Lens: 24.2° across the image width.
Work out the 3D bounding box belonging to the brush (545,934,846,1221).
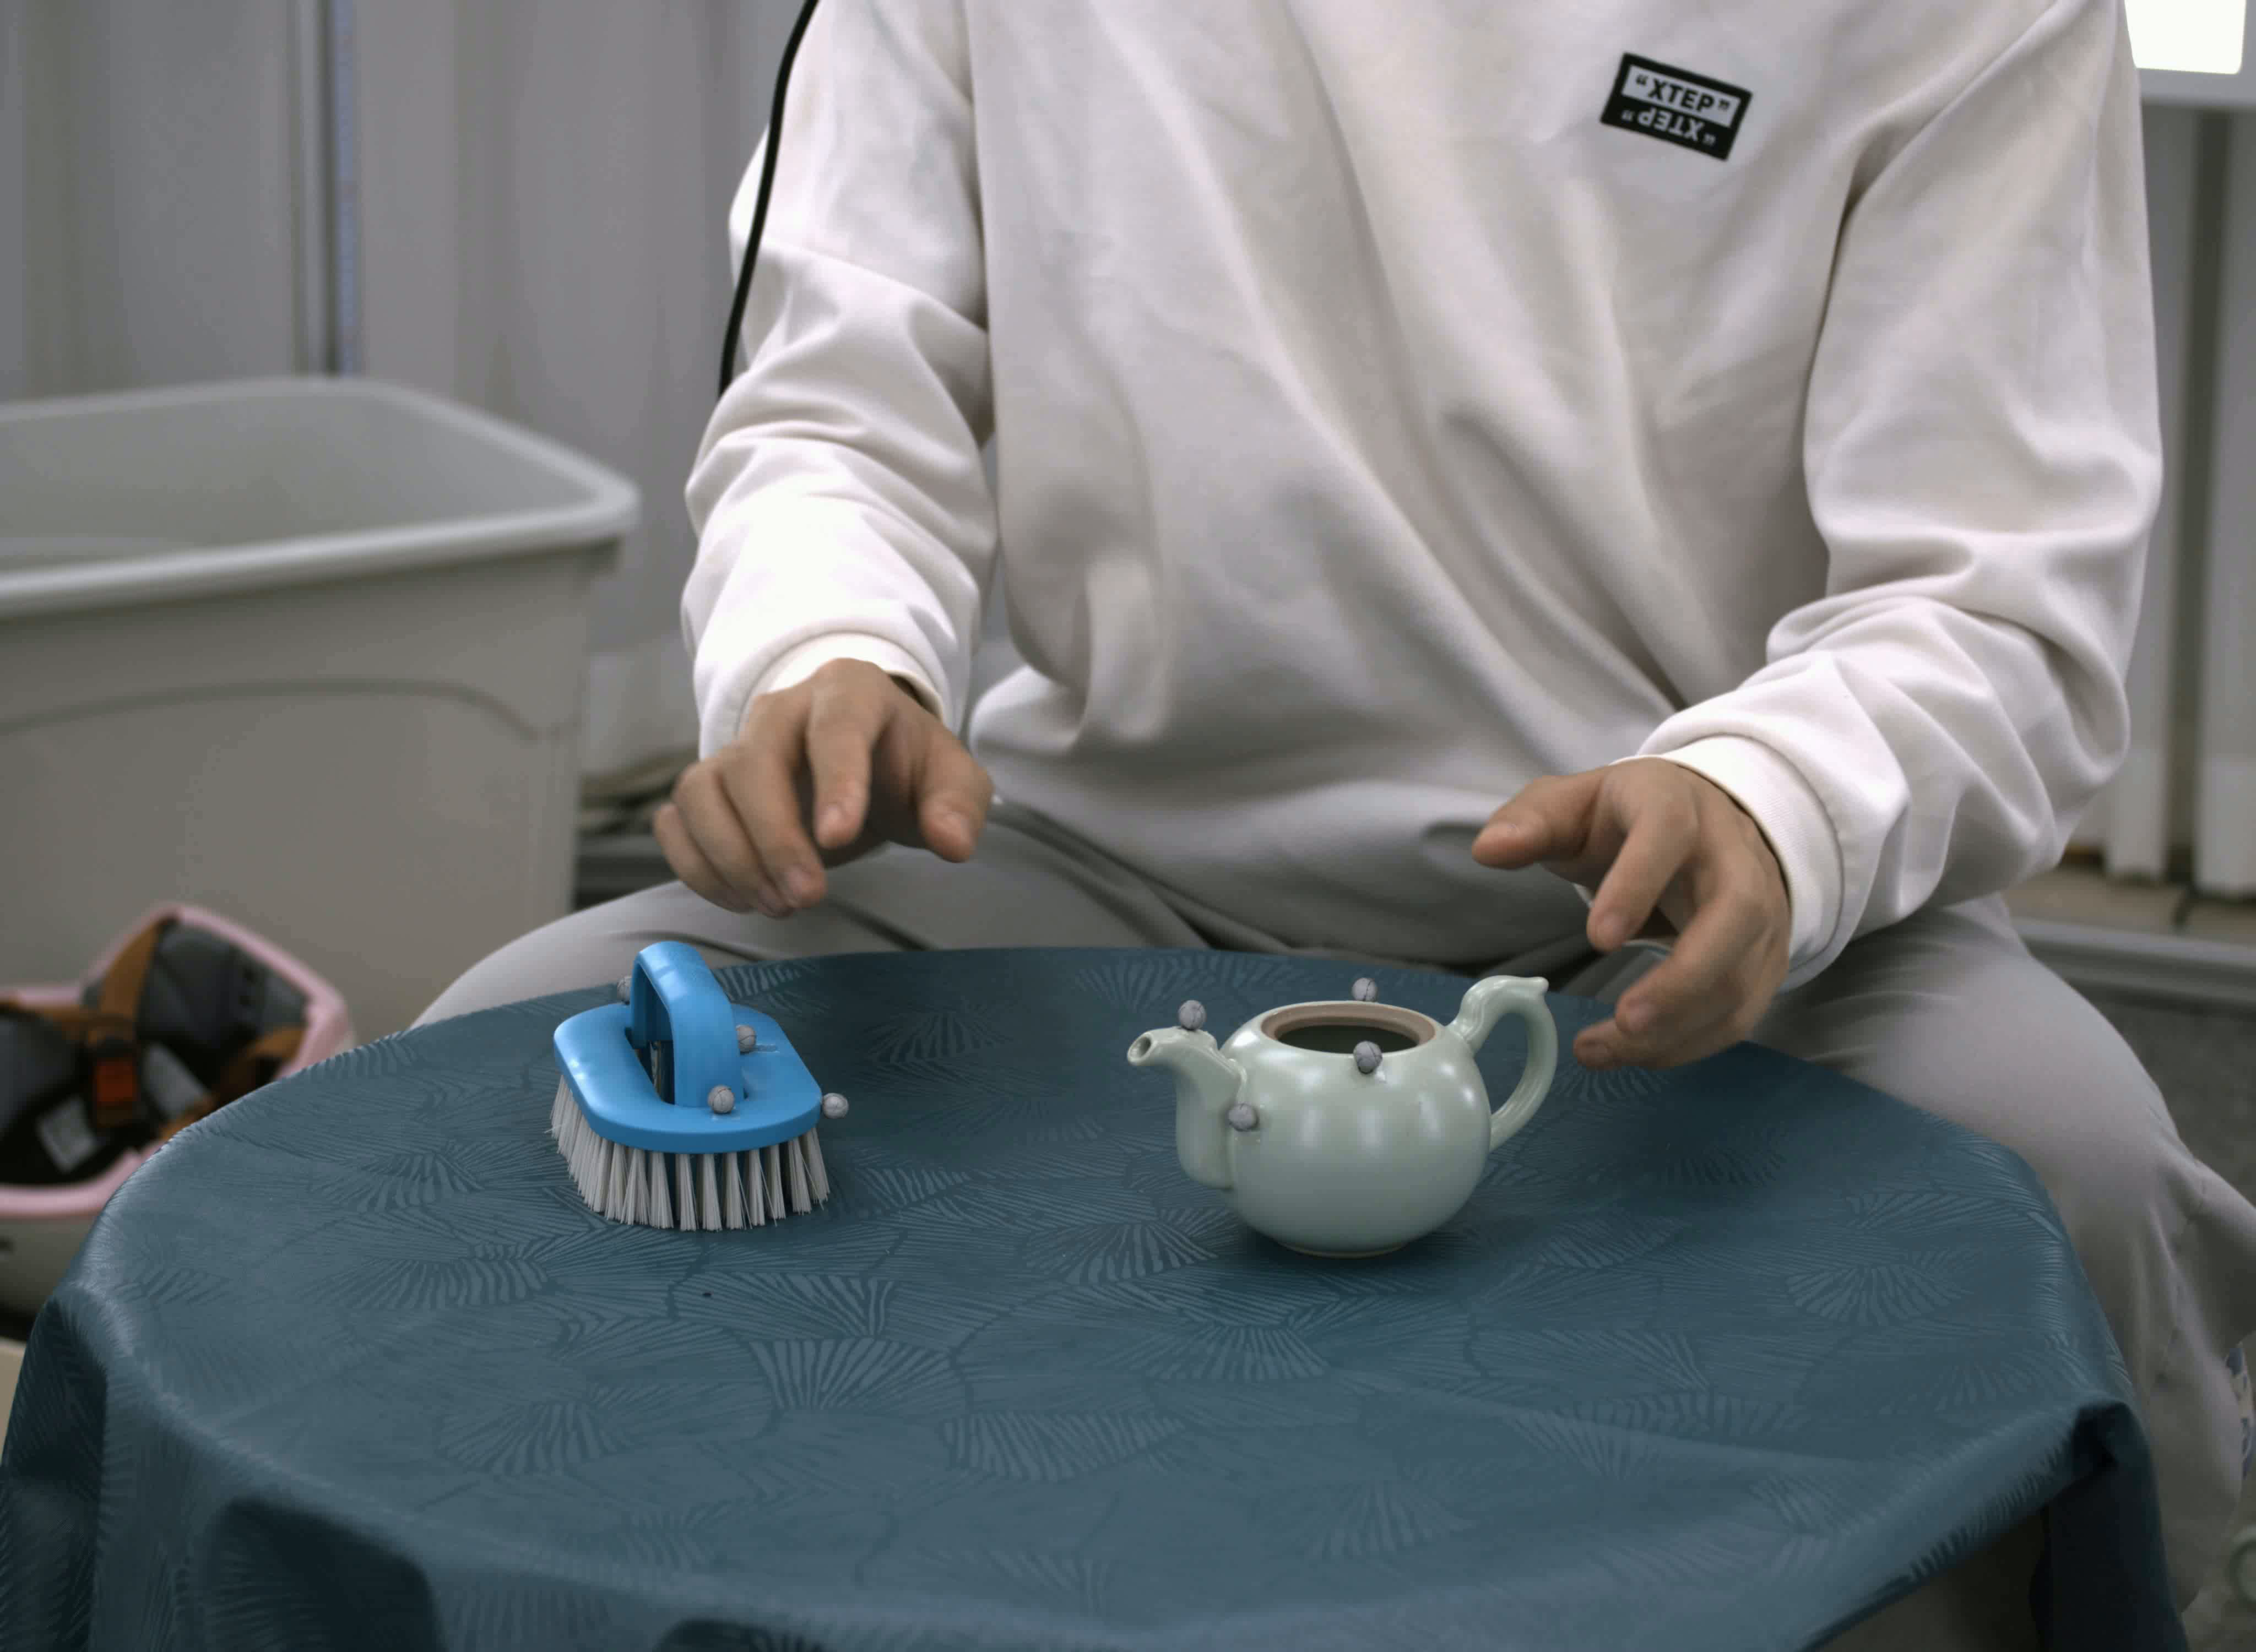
[{"bbox_3d":[-0.138,0.072,1.644,0.084,0.064,0.140,-7,16,-12],"label":"brush"}]

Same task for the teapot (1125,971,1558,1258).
[{"bbox_3d":[0.066,0.088,1.584,0.144,0.075,0.087,-9,17,-22],"label":"teapot"}]
